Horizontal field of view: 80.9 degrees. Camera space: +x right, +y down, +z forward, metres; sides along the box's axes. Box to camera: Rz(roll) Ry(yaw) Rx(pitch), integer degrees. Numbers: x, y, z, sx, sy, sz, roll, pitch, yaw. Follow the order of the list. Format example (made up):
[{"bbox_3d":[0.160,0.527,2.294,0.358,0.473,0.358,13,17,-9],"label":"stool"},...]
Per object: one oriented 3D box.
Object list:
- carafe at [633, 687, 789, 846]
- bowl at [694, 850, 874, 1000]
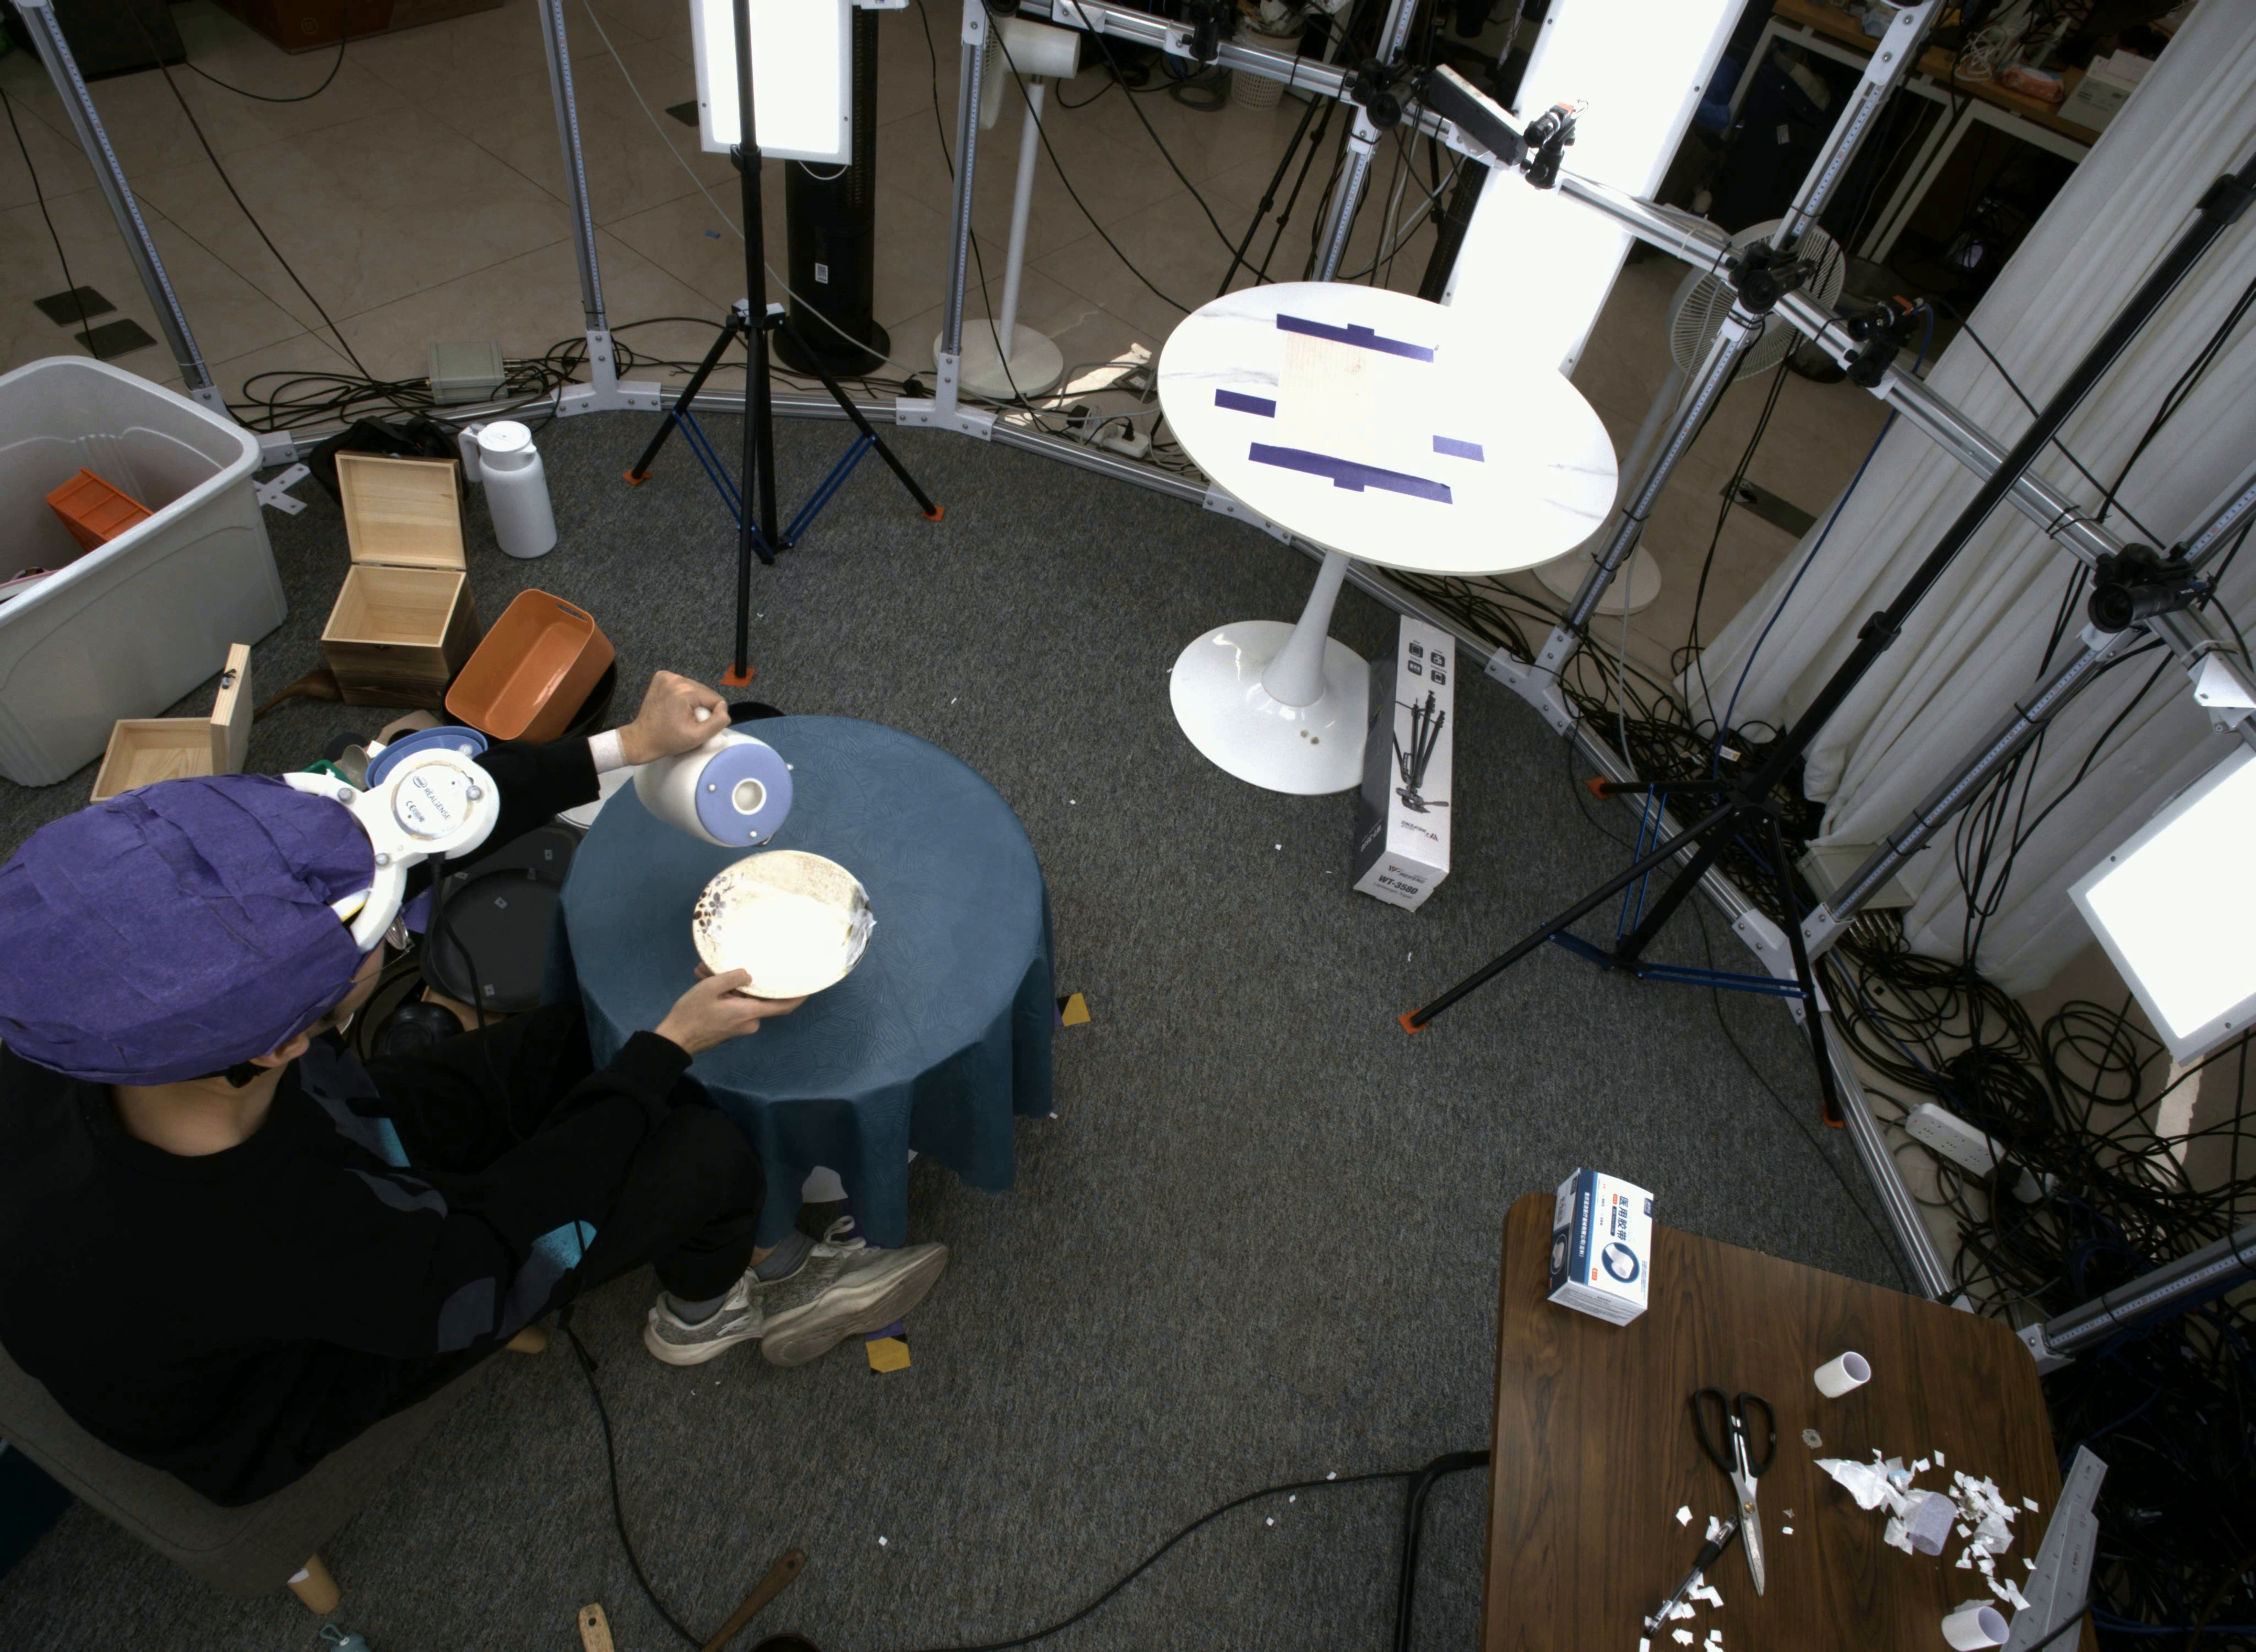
[{"bbox_3d":[-0.495,-0.074,1.492,0.176,0.198,0.132,12,41,46],"label":"carafe"},{"bbox_3d":[-0.400,0.130,1.519,0.203,0.079,0.200,6,53,-7],"label":"bowl"}]
